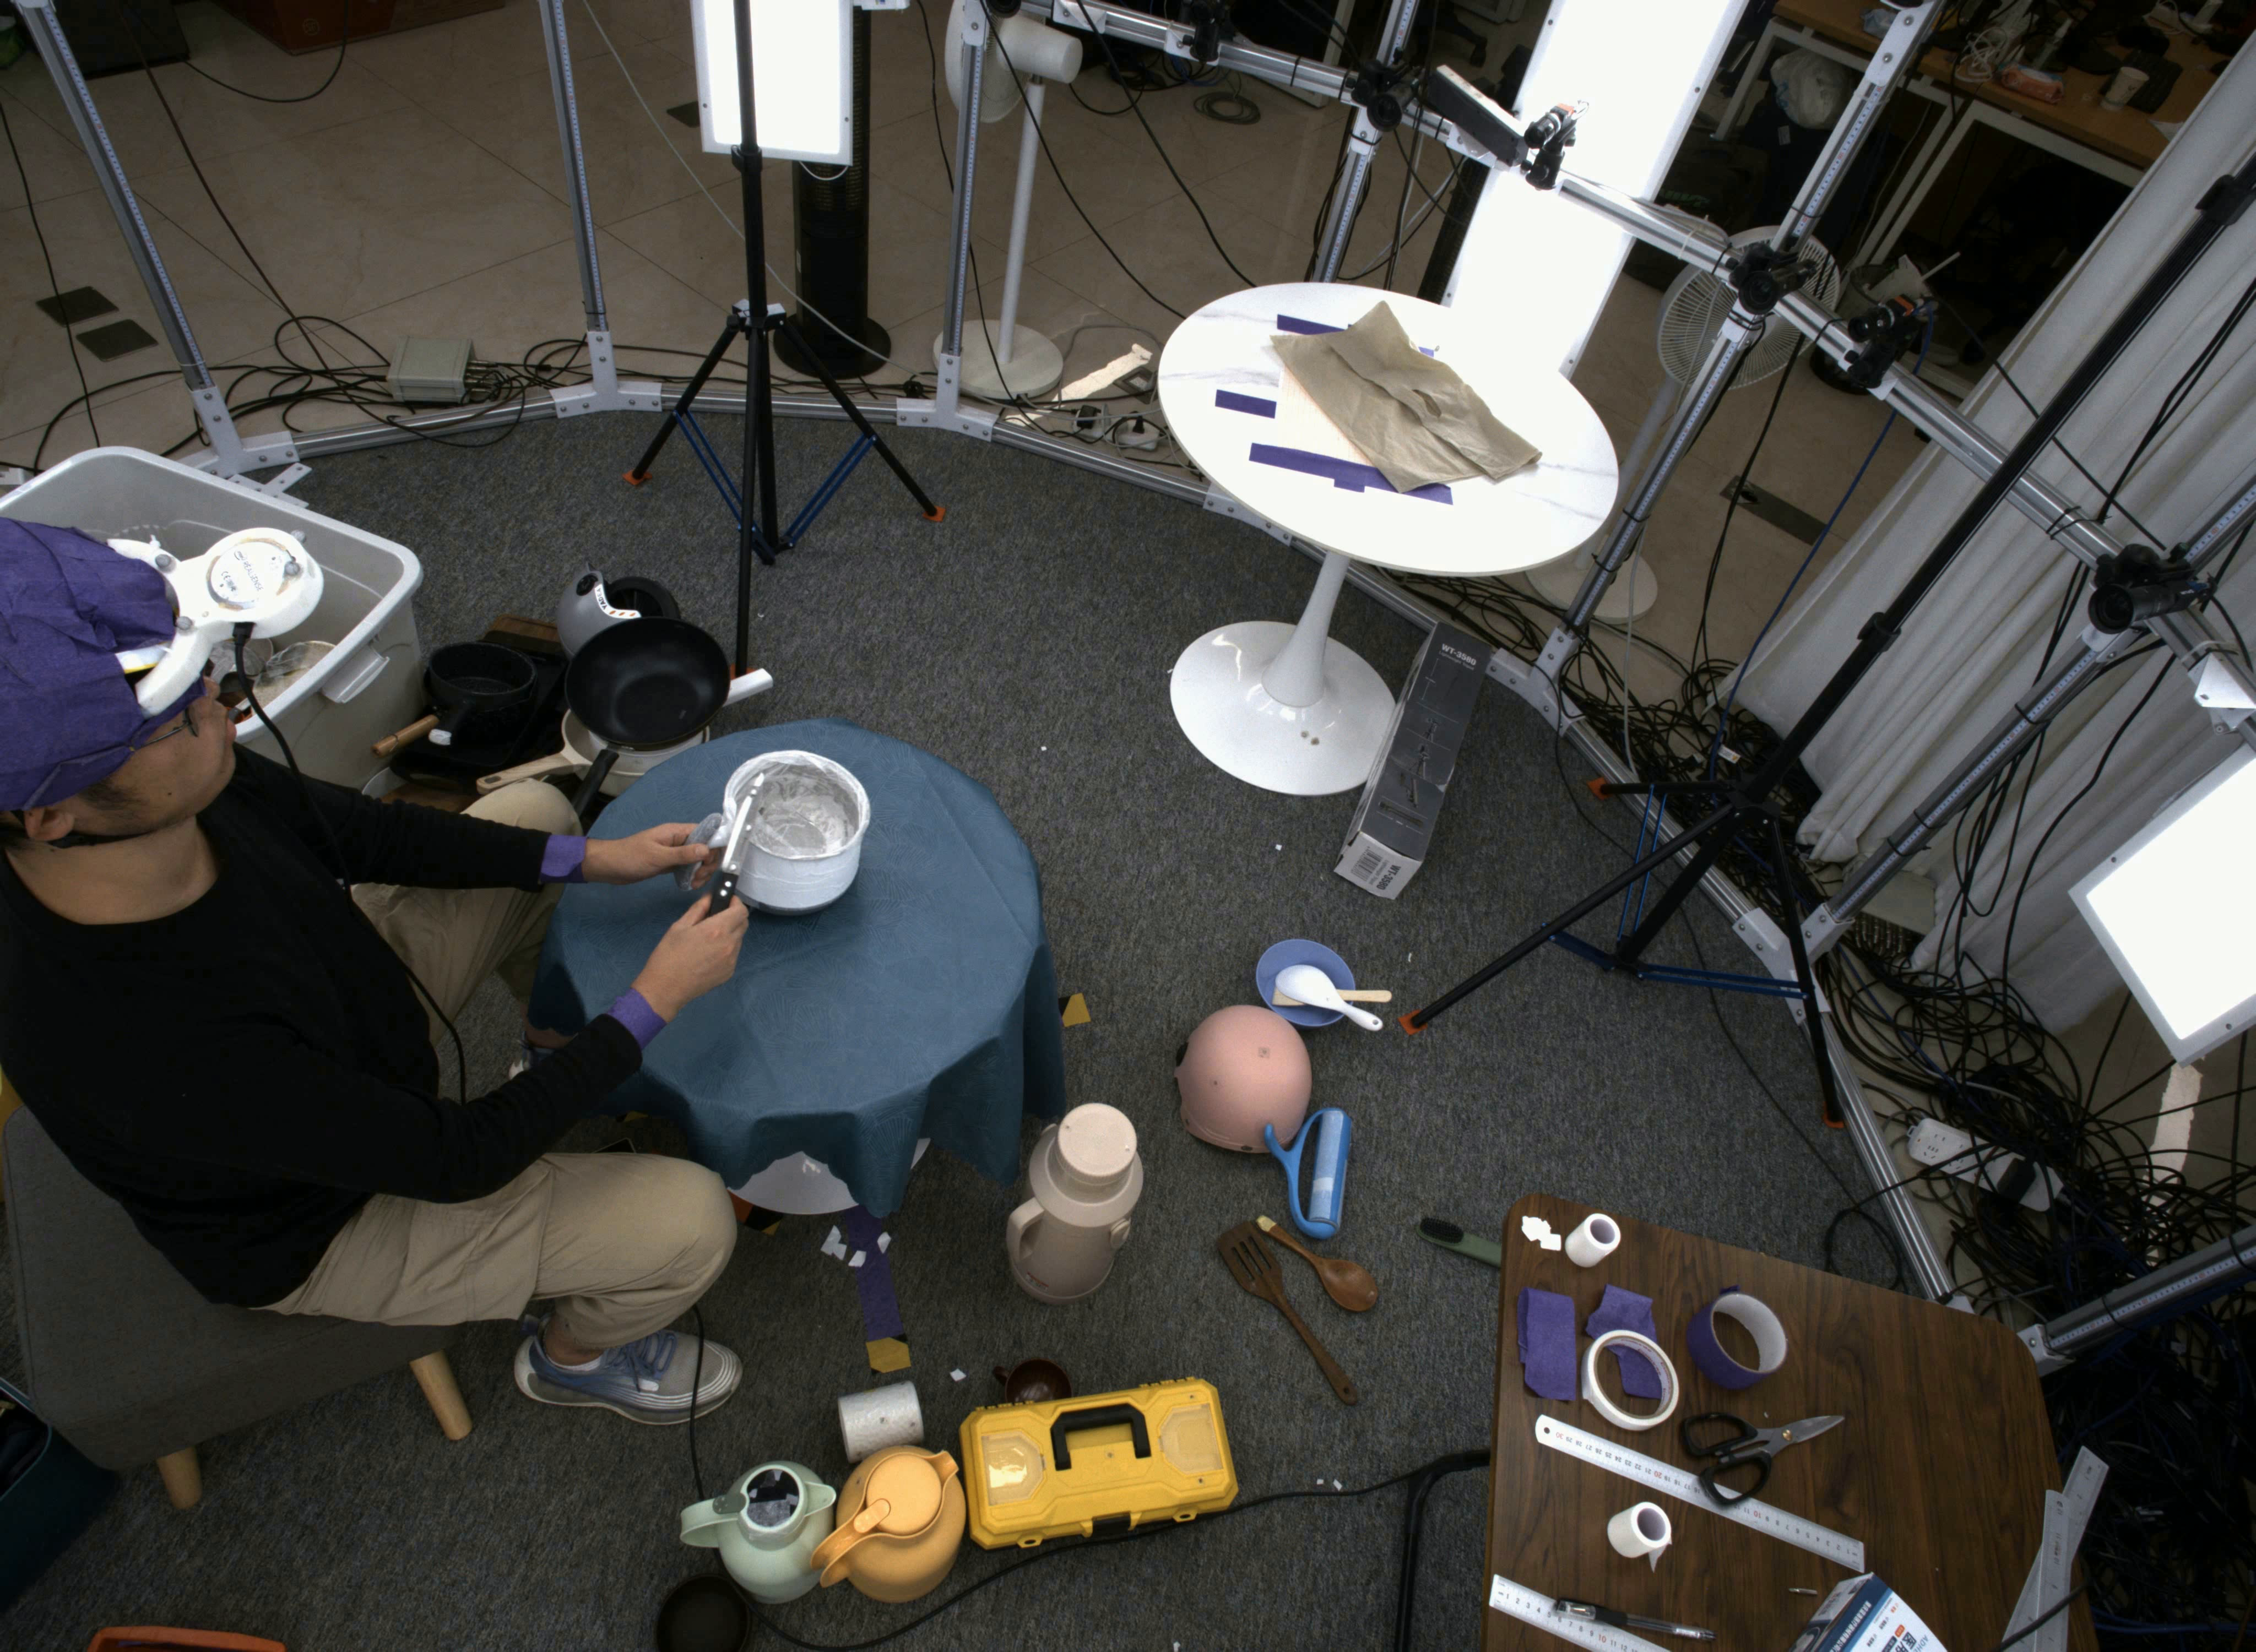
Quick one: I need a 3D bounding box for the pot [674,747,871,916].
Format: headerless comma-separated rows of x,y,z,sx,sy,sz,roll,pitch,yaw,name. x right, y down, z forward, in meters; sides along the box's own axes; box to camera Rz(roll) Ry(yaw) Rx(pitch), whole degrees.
-0.442,0.015,1.599,0.236,0.139,0.174,-13,56,-35,pot

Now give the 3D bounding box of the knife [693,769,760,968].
-0.454,0.046,1.478,0.024,0.016,0.238,16,75,-14,knife
